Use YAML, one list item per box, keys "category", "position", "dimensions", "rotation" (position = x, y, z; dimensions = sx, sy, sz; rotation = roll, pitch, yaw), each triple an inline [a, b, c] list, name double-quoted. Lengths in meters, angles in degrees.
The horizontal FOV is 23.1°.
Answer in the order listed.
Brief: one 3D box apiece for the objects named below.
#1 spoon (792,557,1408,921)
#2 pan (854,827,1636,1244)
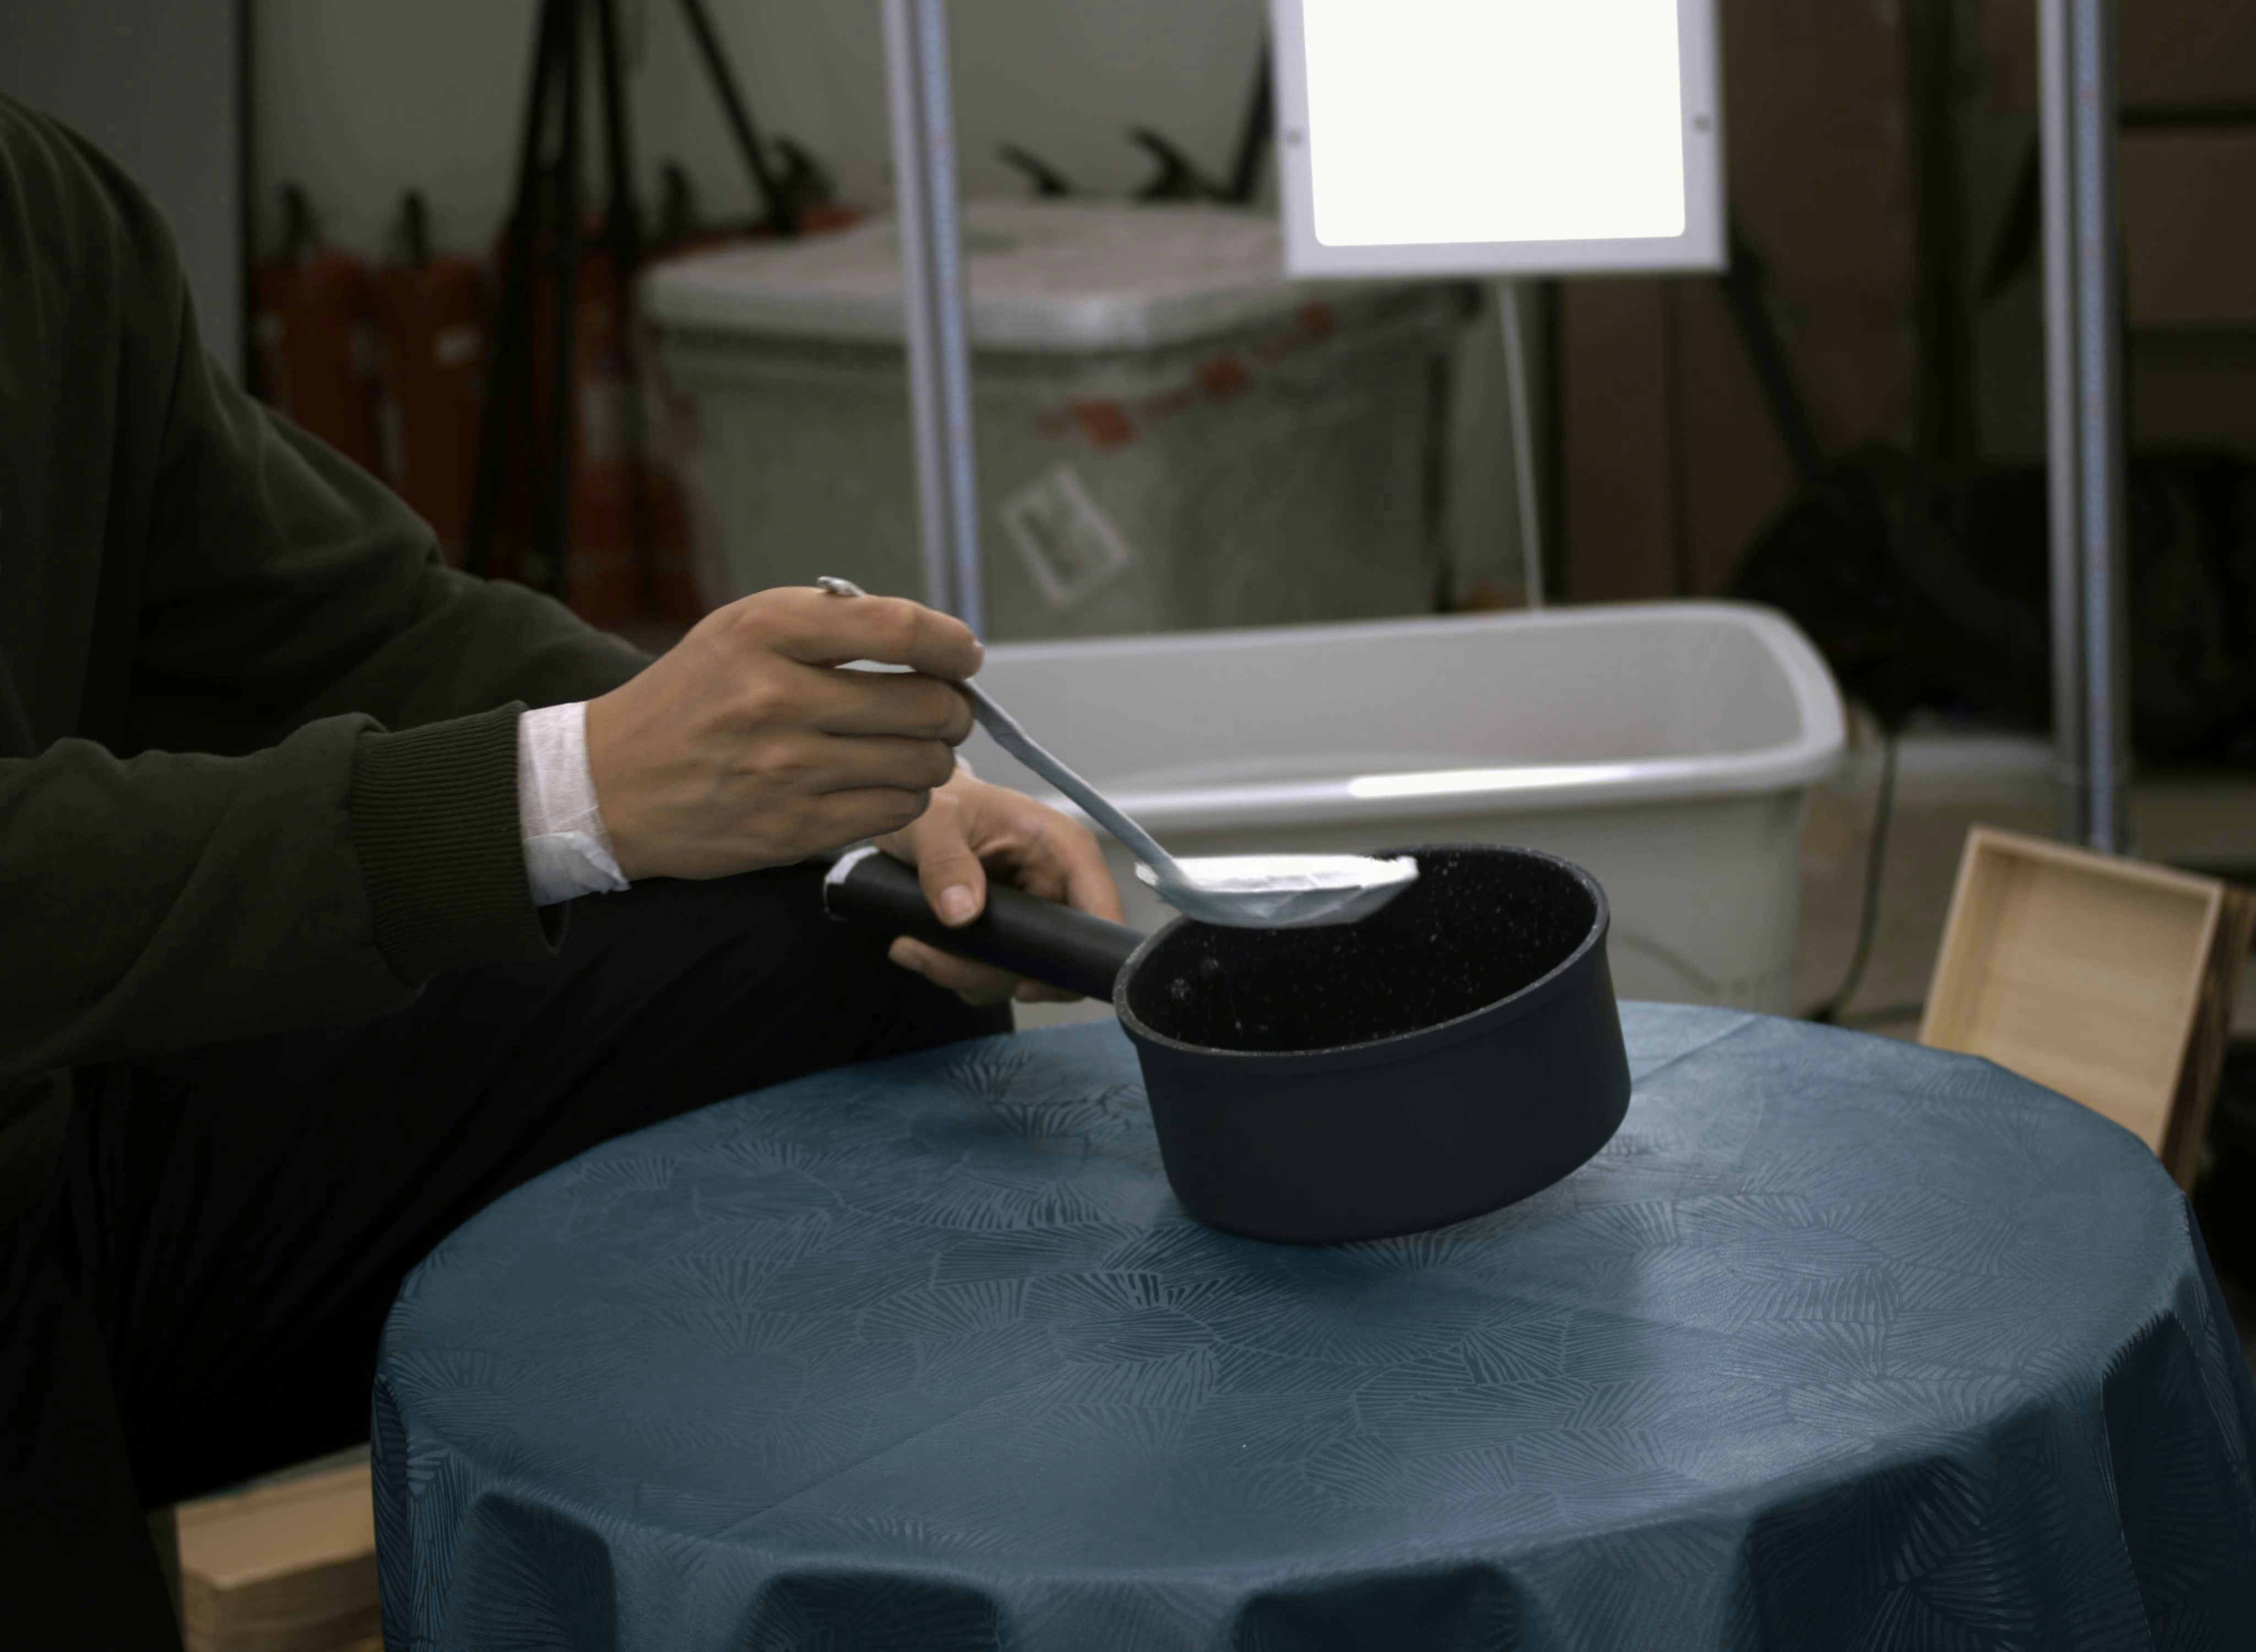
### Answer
- category: "spoon"
  position: [-0.013, -0.035, 1.760]
  dimensions: [0.103, 0.059, 0.273]
  rotation: [3, -27, 44]
- category: "pan"
  position: [0.030, 0.062, 1.931]
  dimensions: [0.336, 0.086, 0.168]
  rotation: [9, 30, 45]
